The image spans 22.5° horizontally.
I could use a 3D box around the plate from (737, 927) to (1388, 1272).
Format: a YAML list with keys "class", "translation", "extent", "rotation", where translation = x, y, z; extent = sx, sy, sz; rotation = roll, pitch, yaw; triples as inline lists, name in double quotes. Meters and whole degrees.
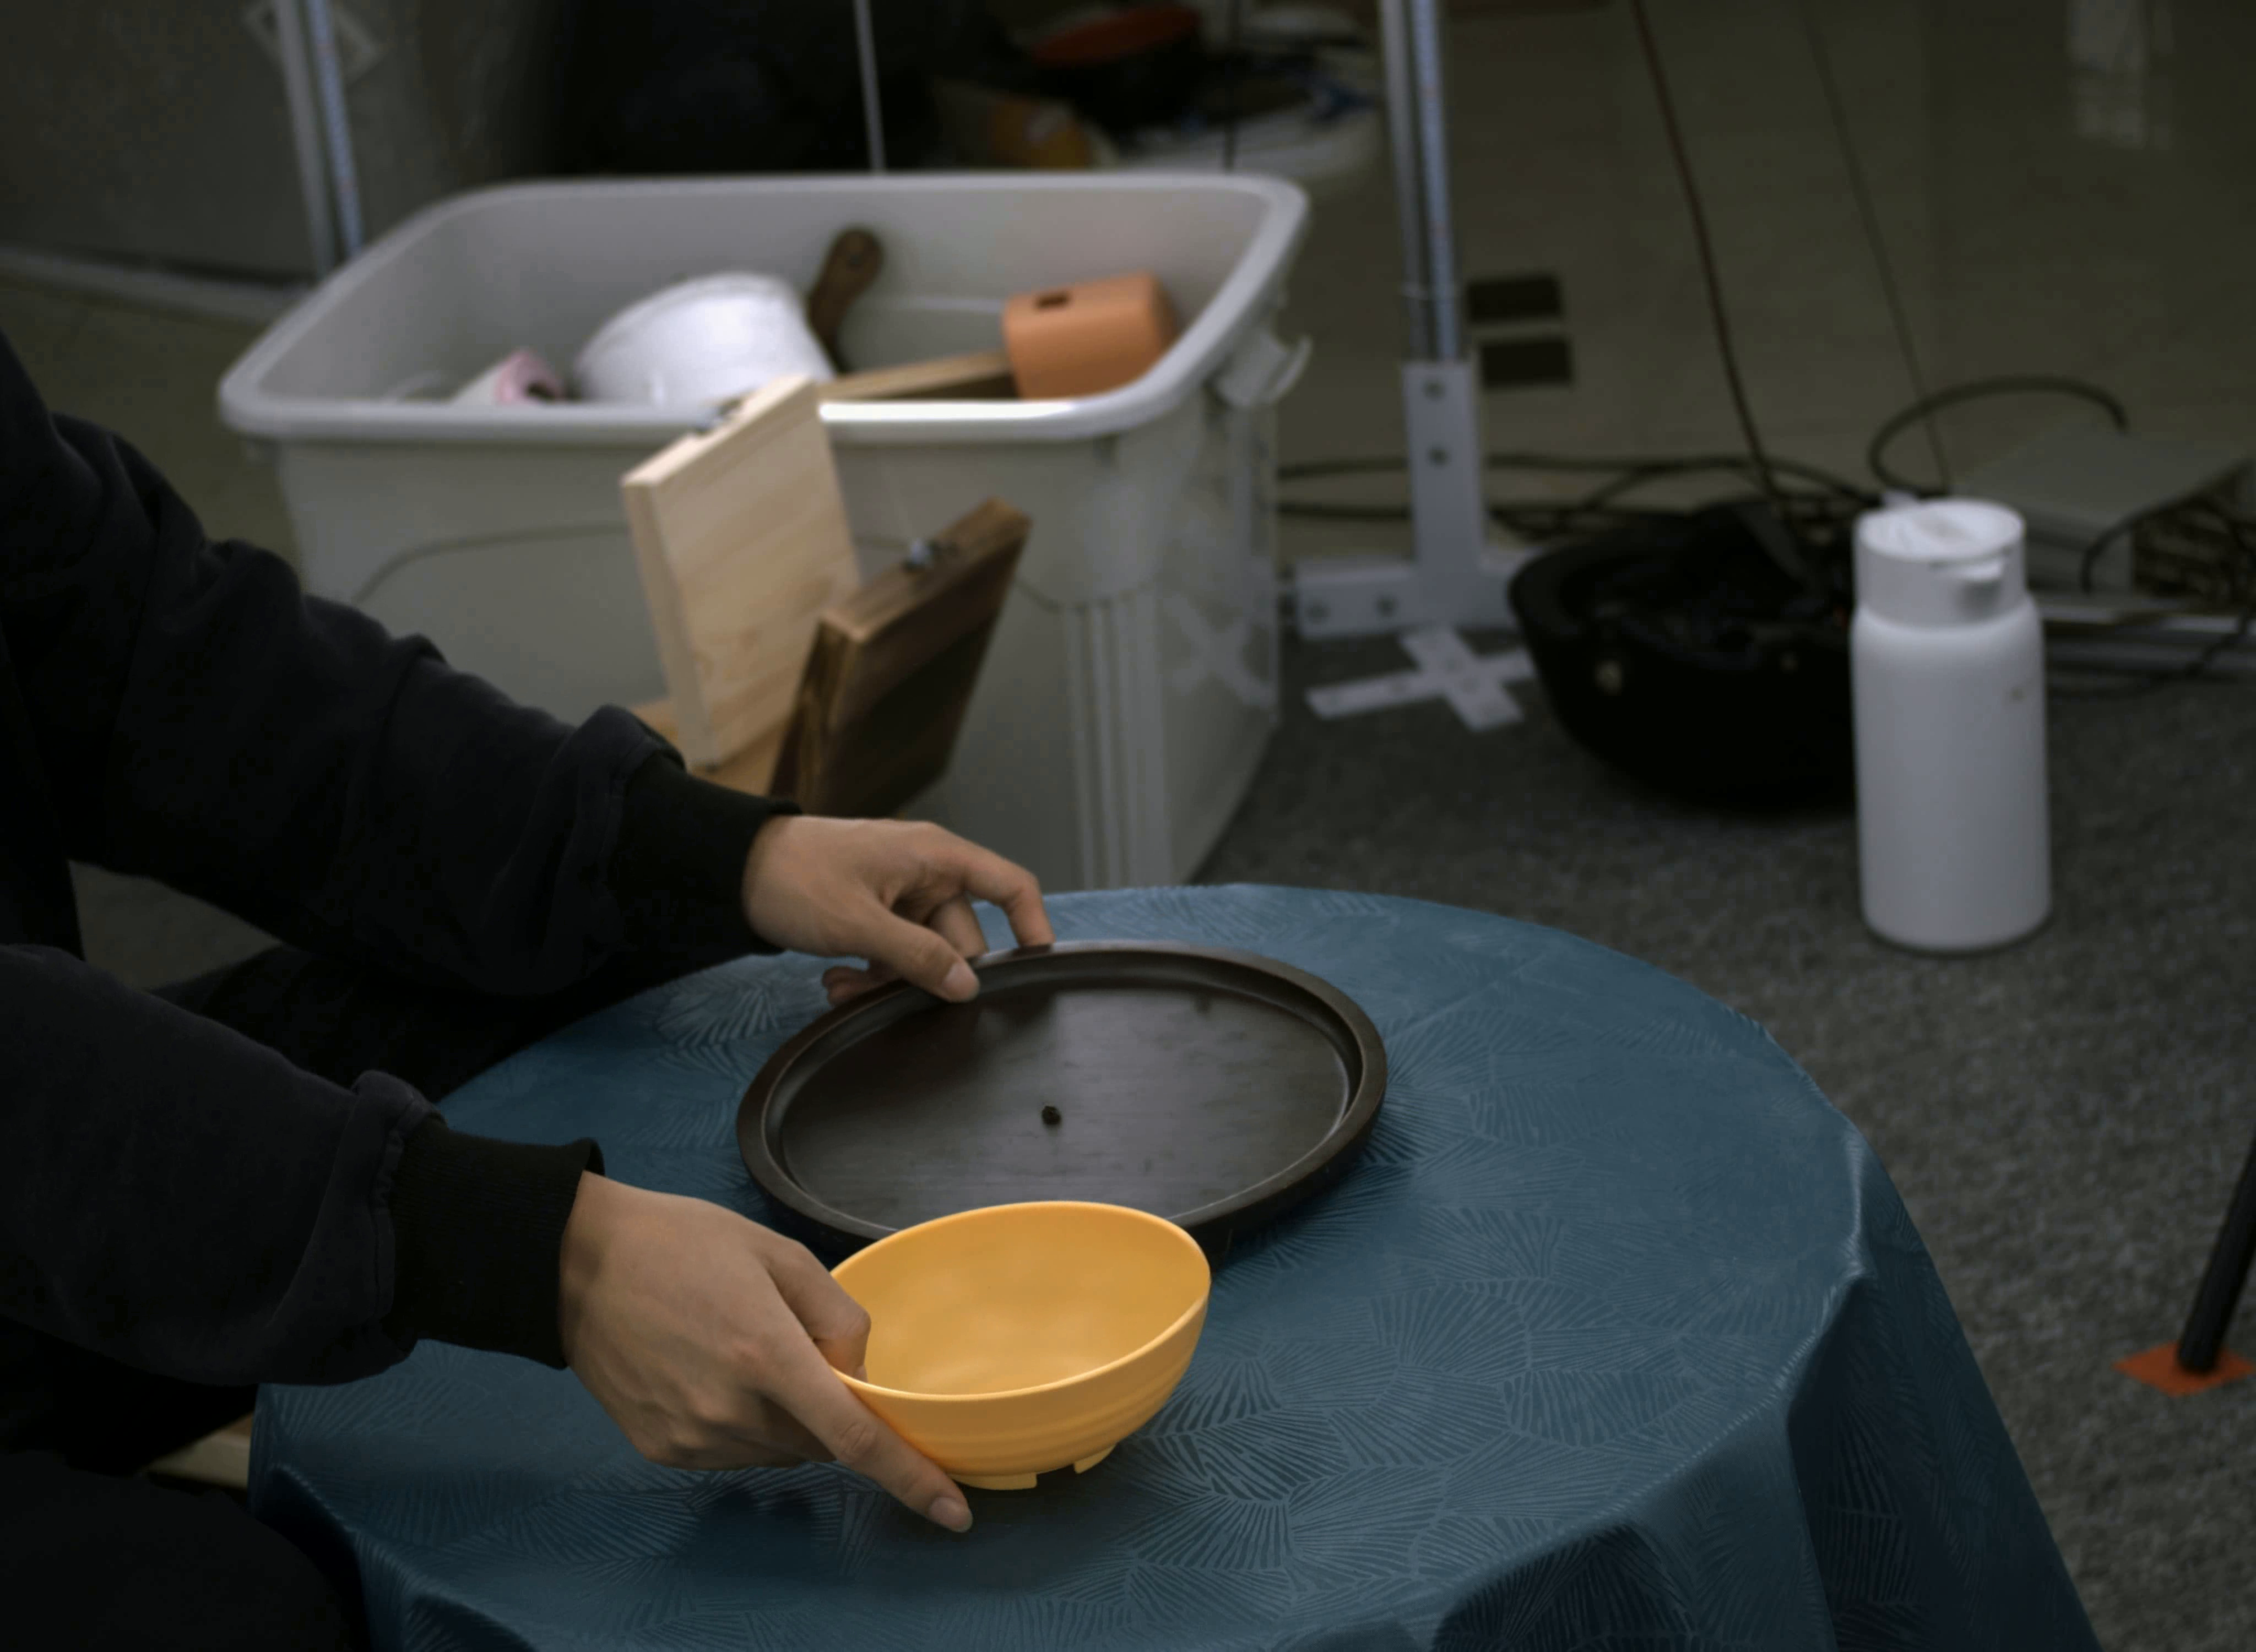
- class: "plate"
  translation: [-0.025, 0.111, 2.190]
  extent: [0.254, 0.029, 0.251]
  rotation: [-6, 27, 3]

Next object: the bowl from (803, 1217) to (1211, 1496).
- class: "bowl"
  translation: [-0.038, 0.192, 1.979]
  extent: [0.145, 0.061, 0.143]
  rotation: [-8, 21, 3]
